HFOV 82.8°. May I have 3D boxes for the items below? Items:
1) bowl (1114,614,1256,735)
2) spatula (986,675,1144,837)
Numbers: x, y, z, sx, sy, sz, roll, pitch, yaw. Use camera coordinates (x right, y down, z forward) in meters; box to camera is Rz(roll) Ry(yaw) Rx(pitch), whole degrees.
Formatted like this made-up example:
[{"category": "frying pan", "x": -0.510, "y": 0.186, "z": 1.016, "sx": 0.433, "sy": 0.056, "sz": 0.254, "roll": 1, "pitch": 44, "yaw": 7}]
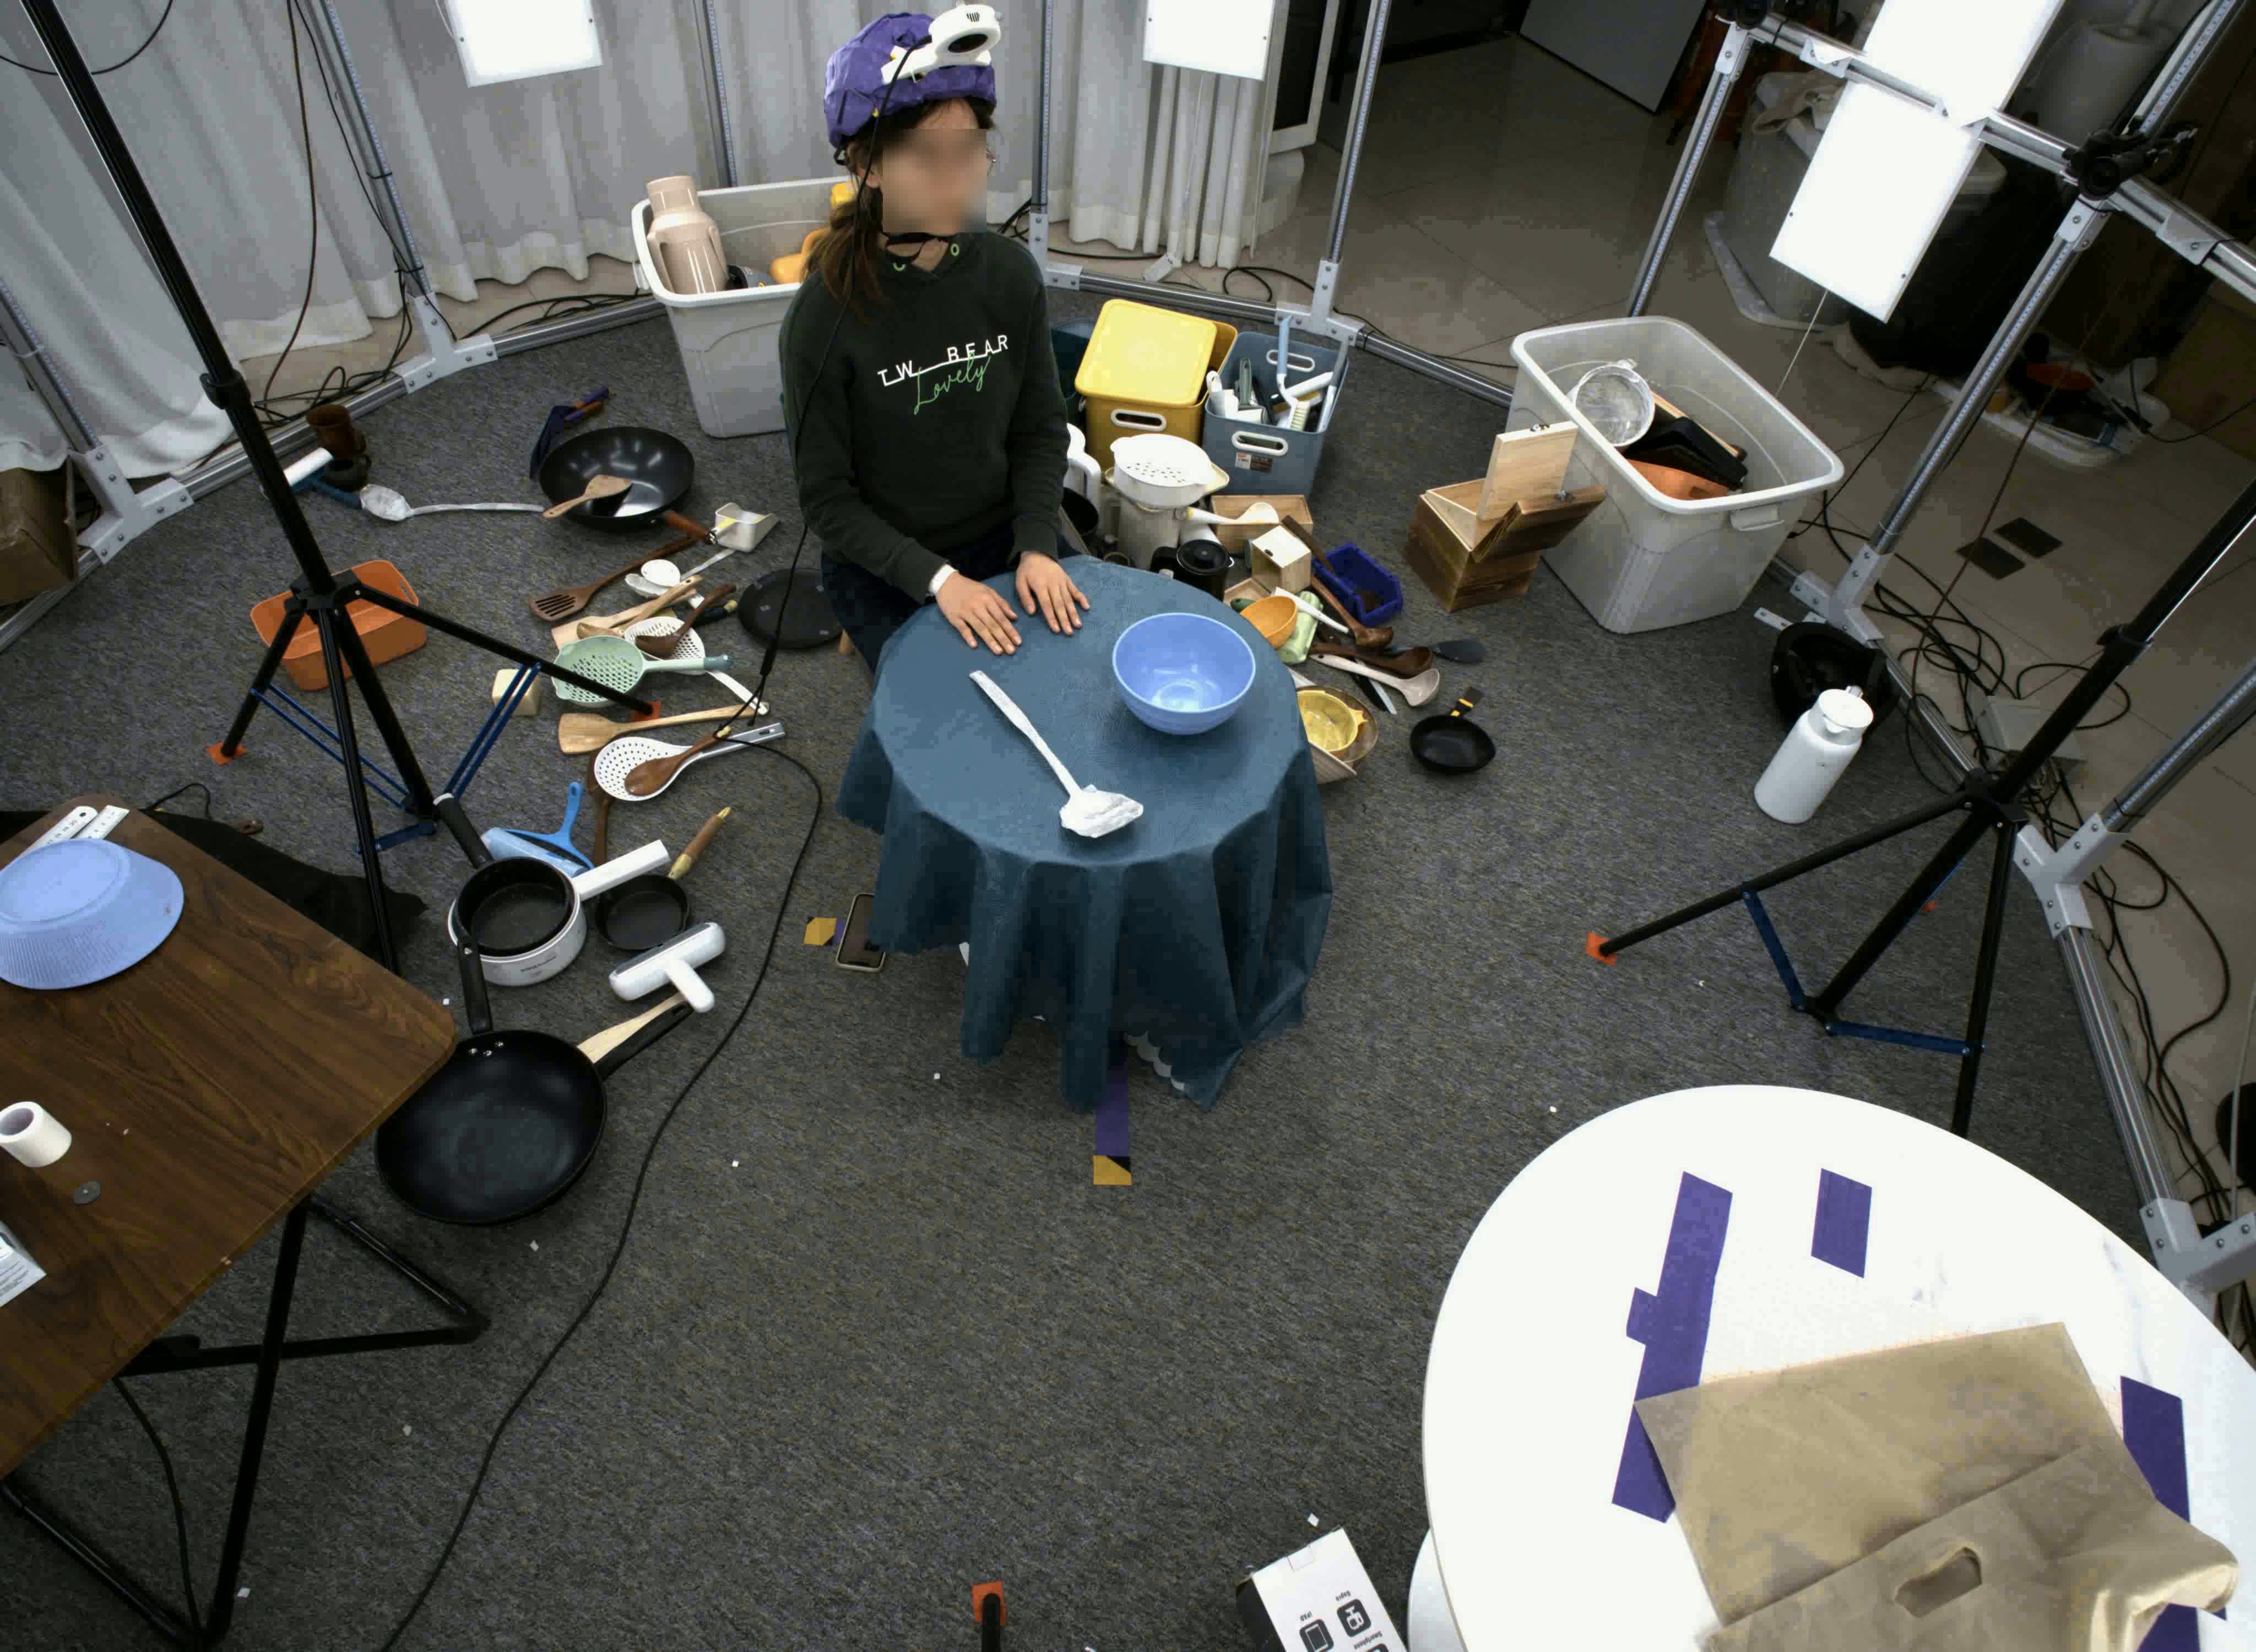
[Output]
[{"category": "bowl", "x": 0.075, "y": -0.197, "z": 1.798, "sx": 0.196, "sy": 0.093, "sz": 0.201, "roll": 2, "pitch": 51, "yaw": -3}, {"category": "spatula", "x": -0.108, "y": -0.106, "z": 1.744, "sx": 0.099, "sy": 0.043, "sz": 0.372, "roll": -25, "pitch": 55, "yaw": -21}]
